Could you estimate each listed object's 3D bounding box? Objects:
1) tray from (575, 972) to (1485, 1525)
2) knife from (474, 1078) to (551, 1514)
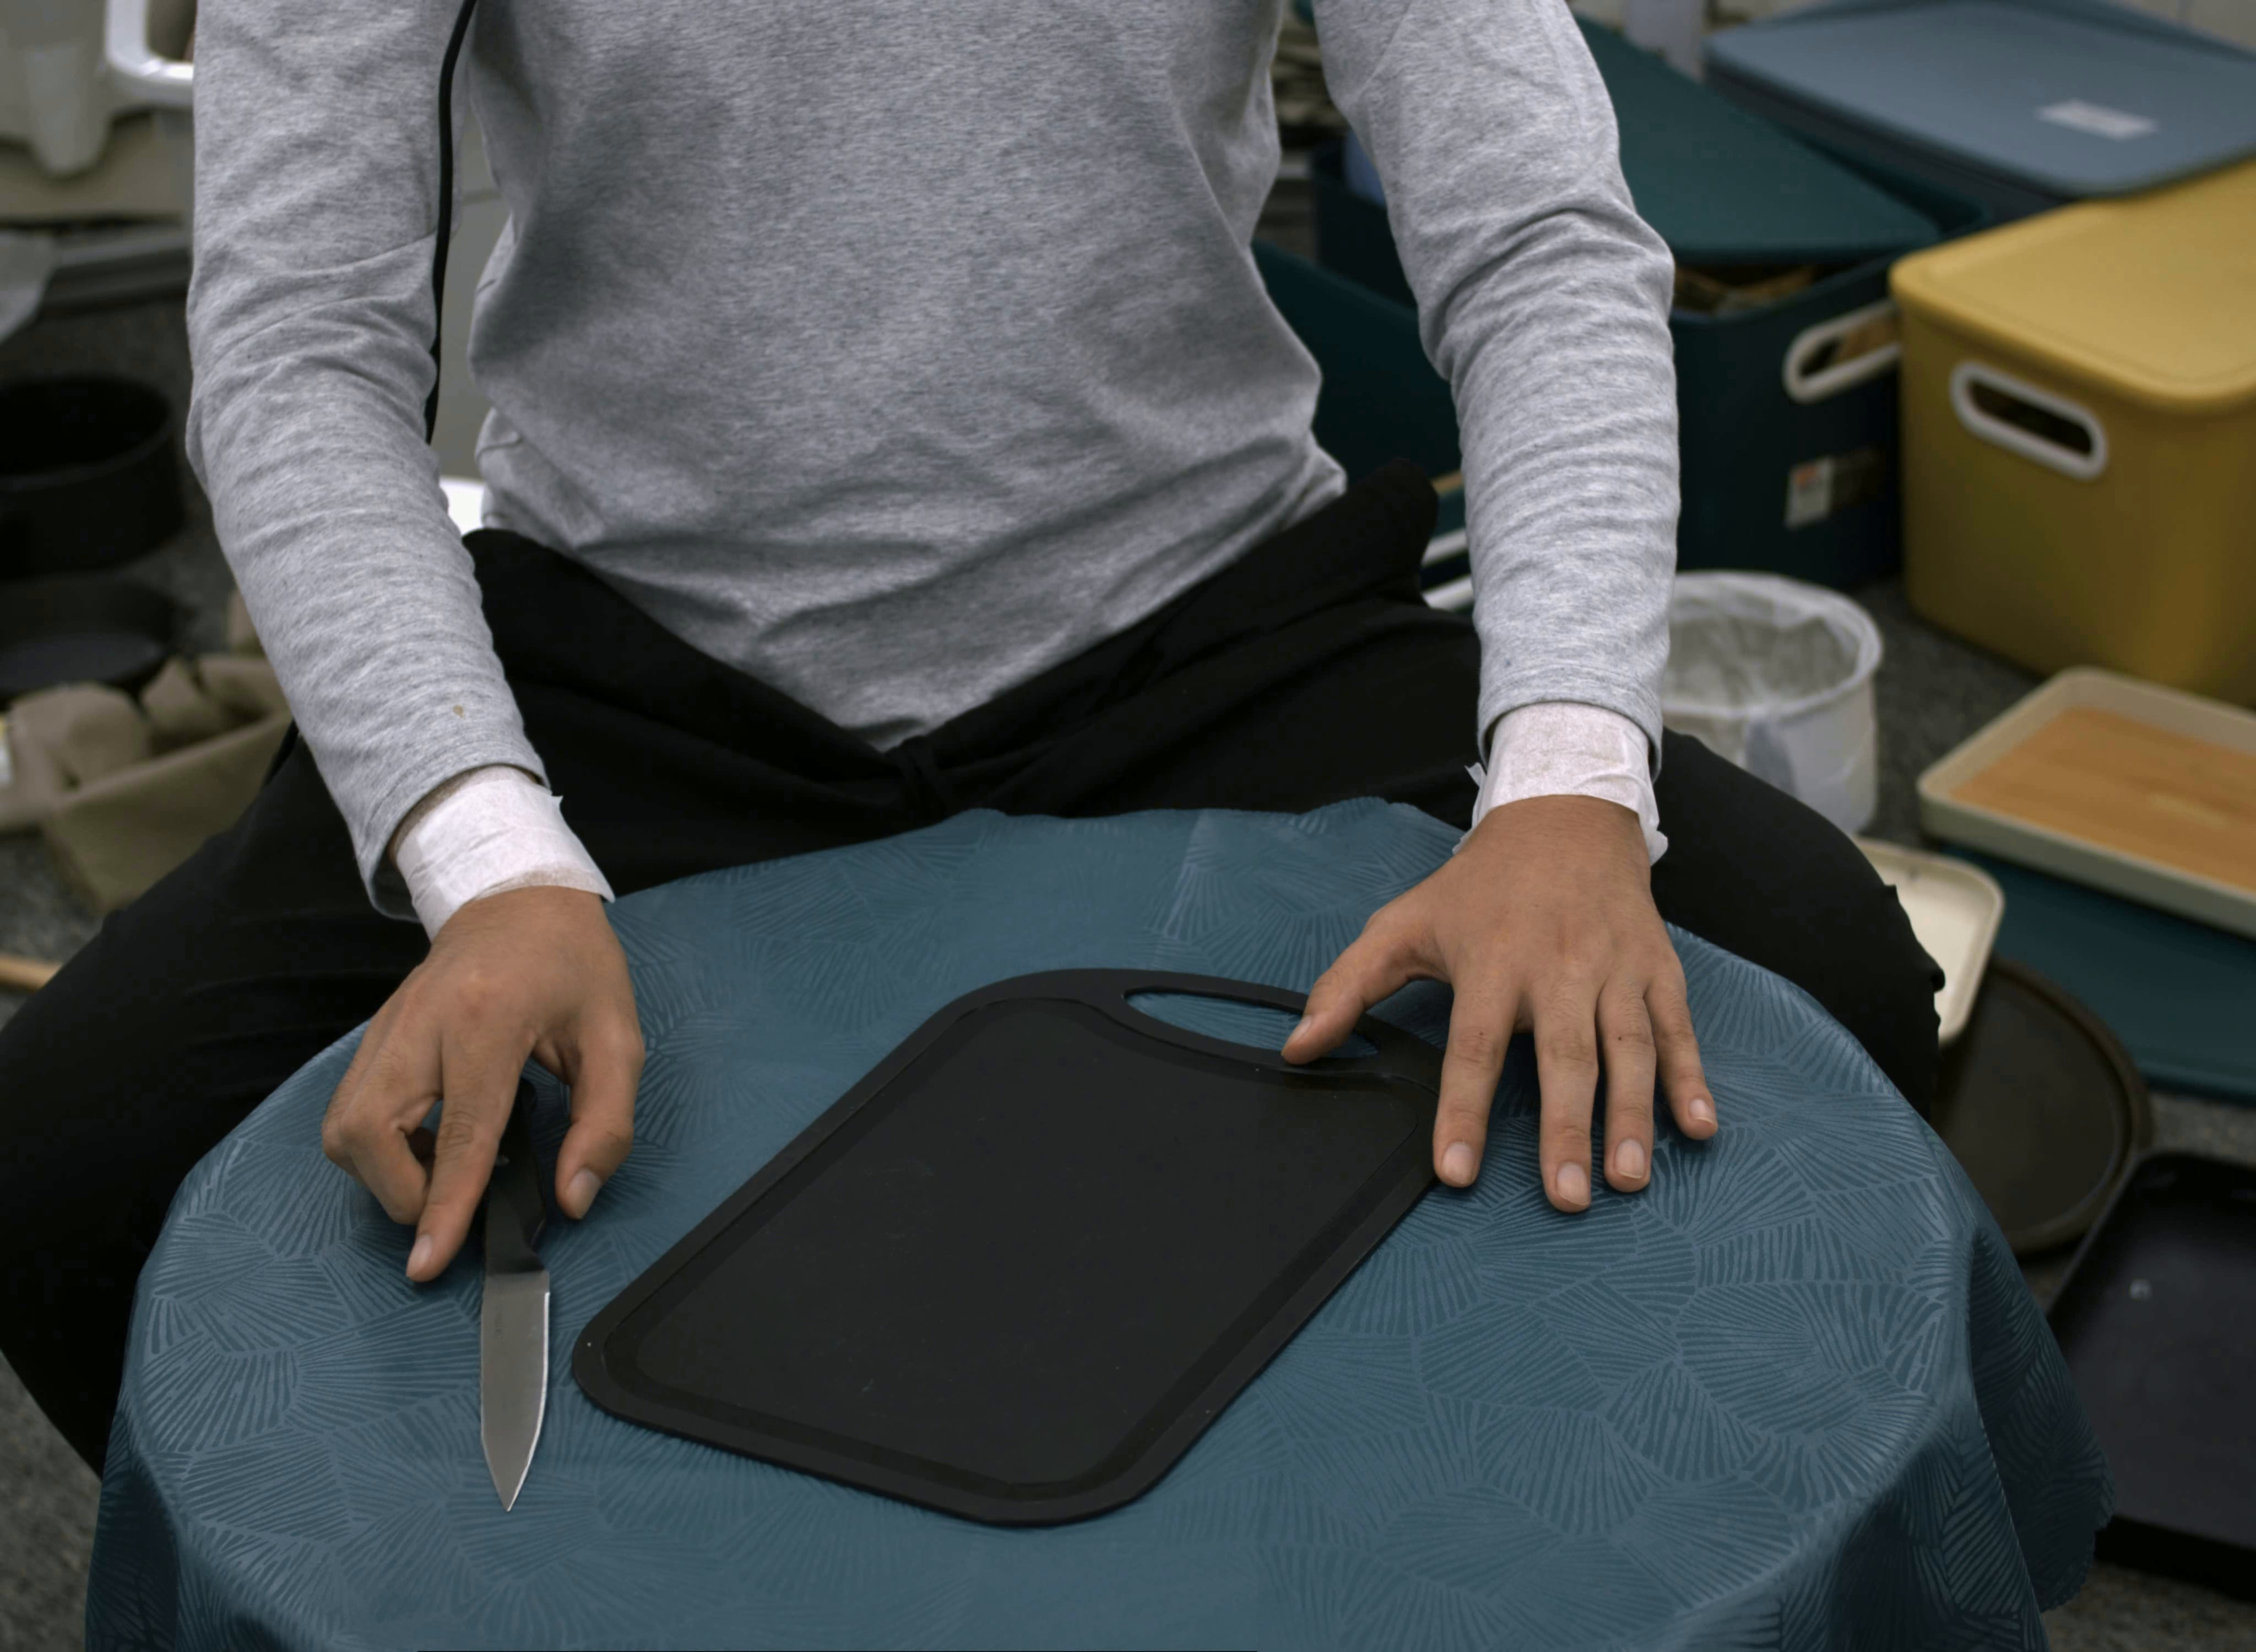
[{"bbox_3d":[-0.024,0.127,1.847,0.210,0.009,0.330,13,31,27],"label":"tray"},{"bbox_3d":[-0.199,0.151,1.812,0.024,0.016,0.241,-7,30,-3],"label":"knife"}]
